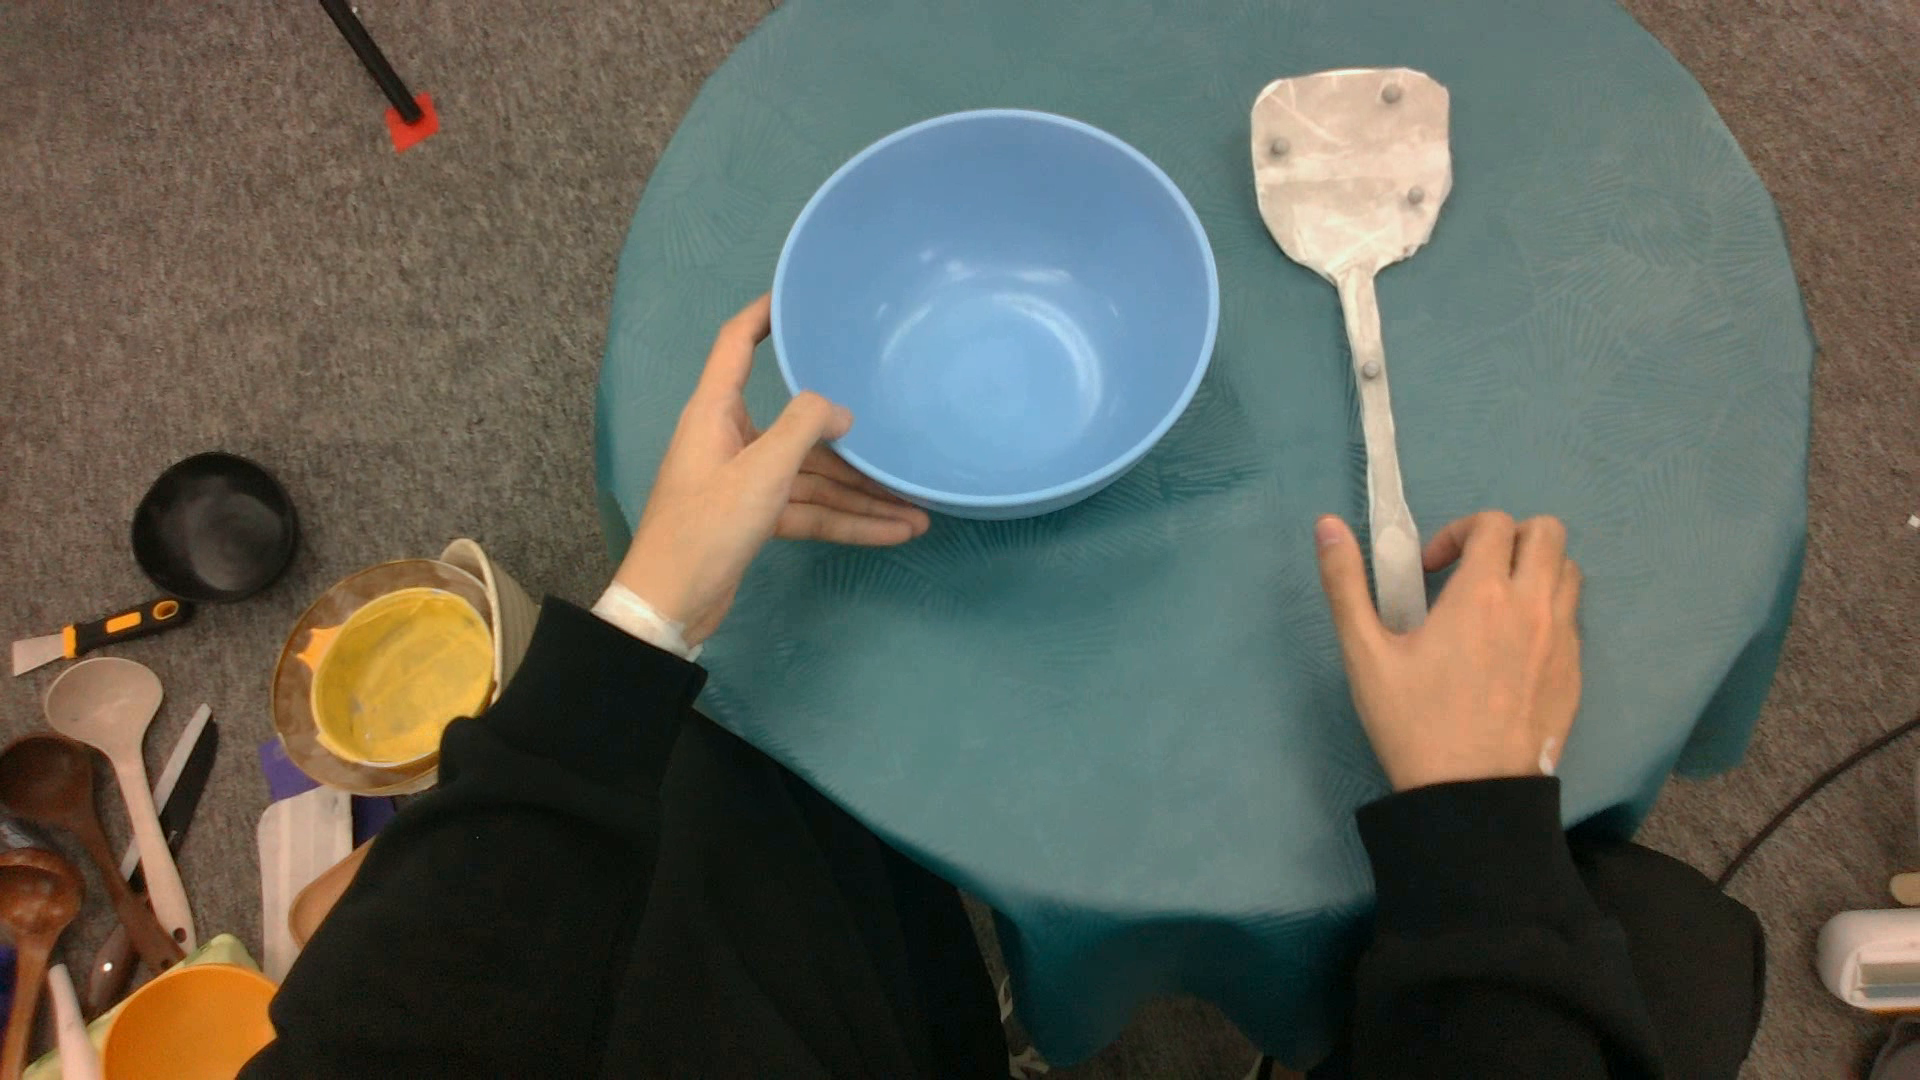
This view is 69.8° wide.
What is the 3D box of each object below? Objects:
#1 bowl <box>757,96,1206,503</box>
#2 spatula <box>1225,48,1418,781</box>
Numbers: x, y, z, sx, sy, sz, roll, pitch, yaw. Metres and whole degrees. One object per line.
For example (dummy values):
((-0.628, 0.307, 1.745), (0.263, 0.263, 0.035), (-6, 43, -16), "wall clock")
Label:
((0.010, -0.098, 0.643), (0.196, 0.095, 0.197), (0, 69, 1), "bowl")
((0.185, -0.071, 0.656), (0.098, 0.044, 0.366), (-1, 70, 1), "spatula")
